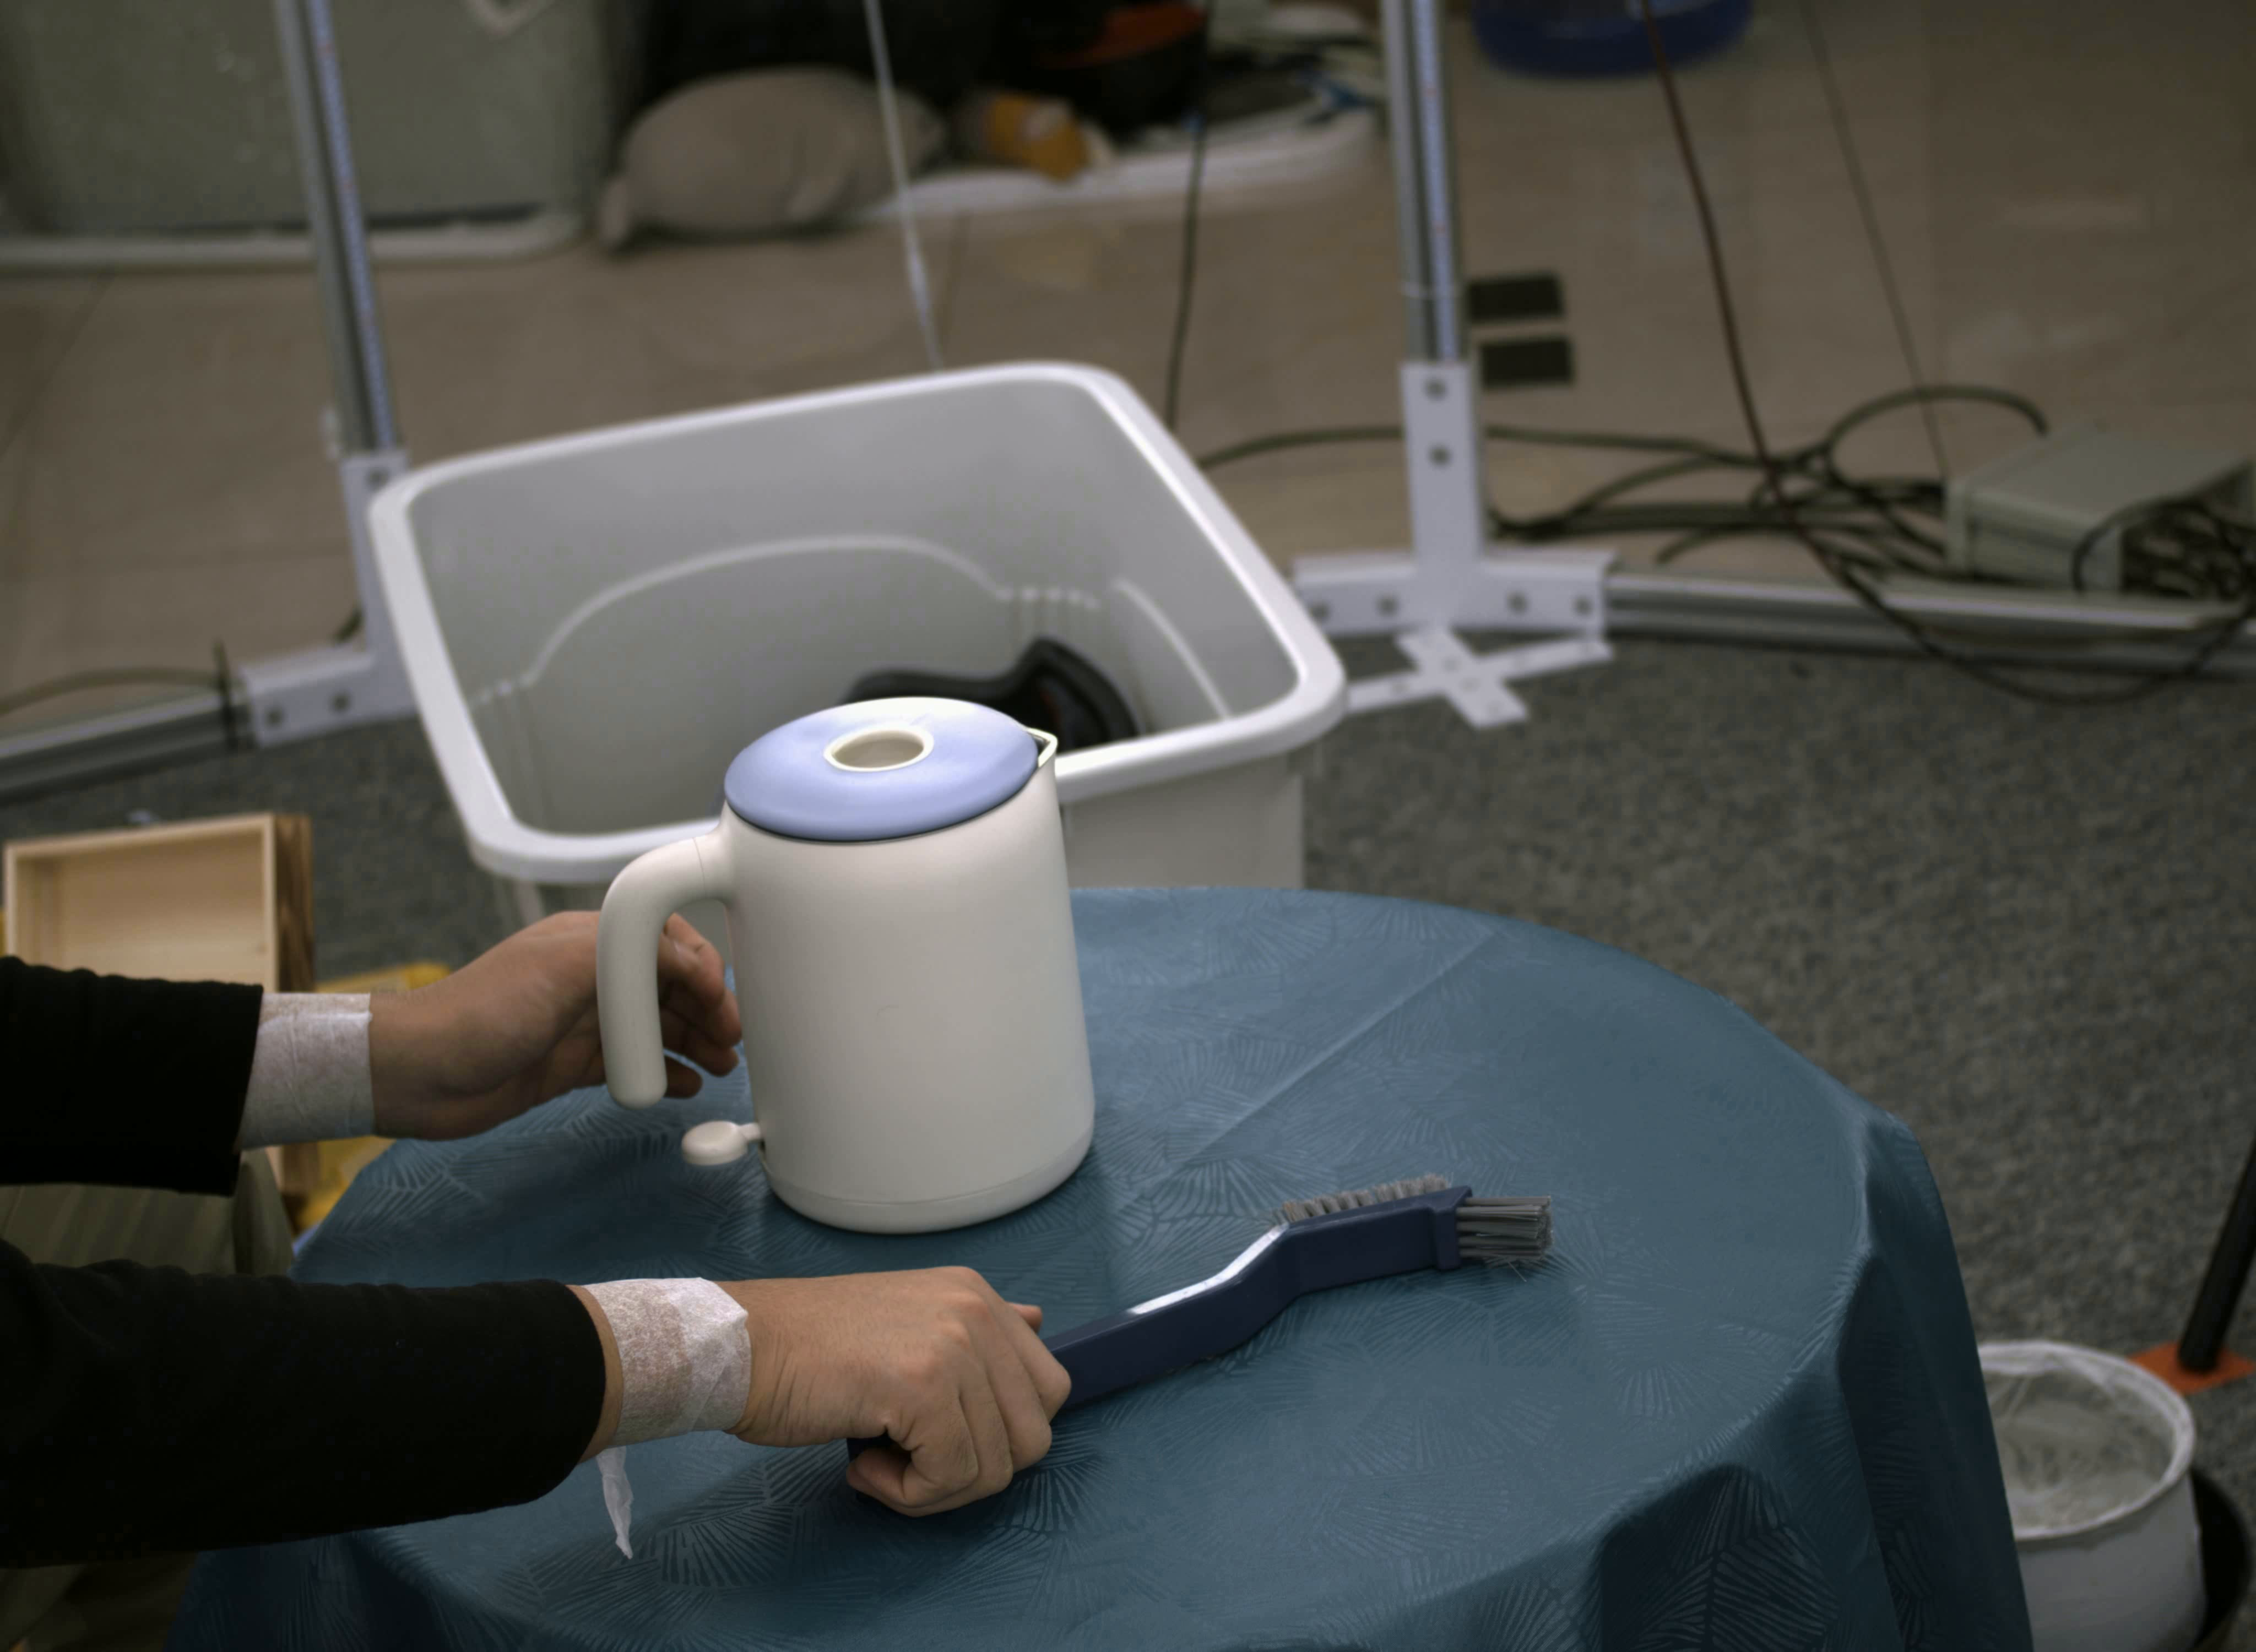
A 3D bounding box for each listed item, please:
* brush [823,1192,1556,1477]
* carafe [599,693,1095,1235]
[{"bbox_3d":[0.021,0.180,2.019,0.271,0.034,0.095,-22,31,-31],"label":"brush"},{"bbox_3d":[-0.108,0.057,2.144,0.190,0.185,0.130,-14,26,-13],"label":"carafe"}]
